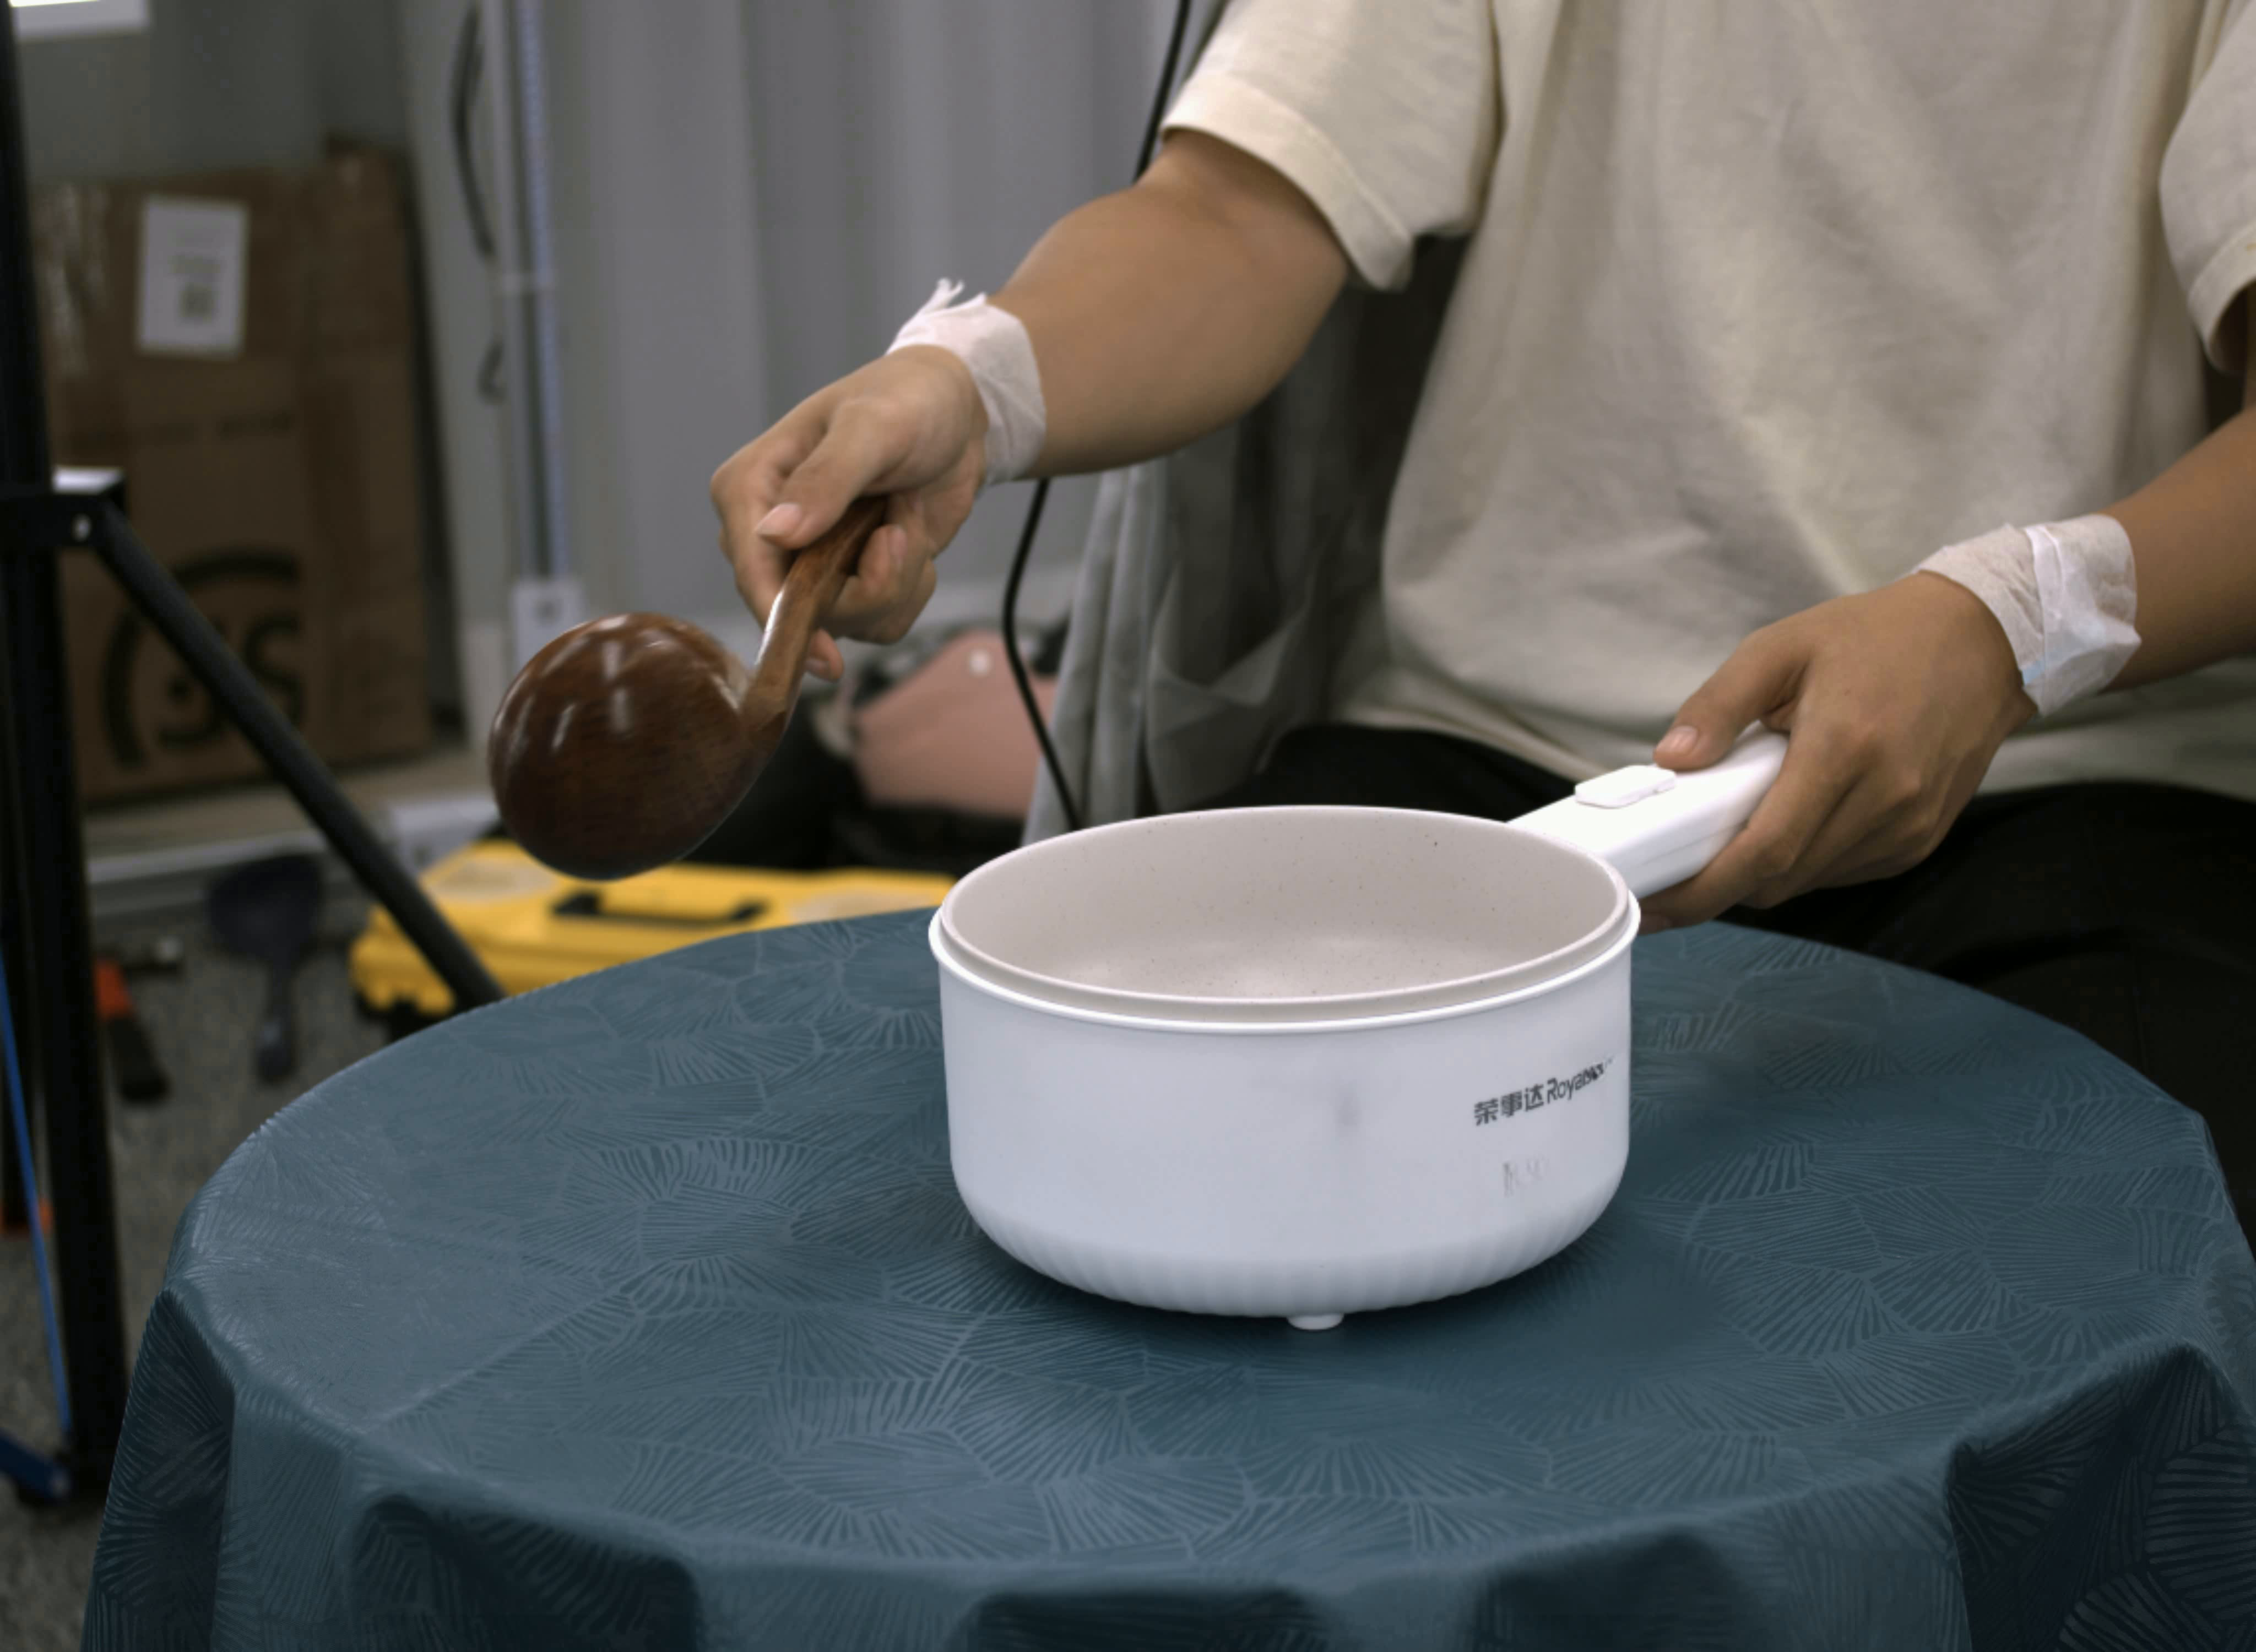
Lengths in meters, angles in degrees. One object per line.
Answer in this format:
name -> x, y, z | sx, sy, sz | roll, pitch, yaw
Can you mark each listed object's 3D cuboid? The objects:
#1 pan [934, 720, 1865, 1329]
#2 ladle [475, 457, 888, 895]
pan -> 0.098, 0.052, 1.556 | 0.206, 0.102, 0.347 | 11, 20, 42
ladle -> -0.131, -0.059, 1.604 | 0.076, 0.082, 0.274 | 14, 24, 1
